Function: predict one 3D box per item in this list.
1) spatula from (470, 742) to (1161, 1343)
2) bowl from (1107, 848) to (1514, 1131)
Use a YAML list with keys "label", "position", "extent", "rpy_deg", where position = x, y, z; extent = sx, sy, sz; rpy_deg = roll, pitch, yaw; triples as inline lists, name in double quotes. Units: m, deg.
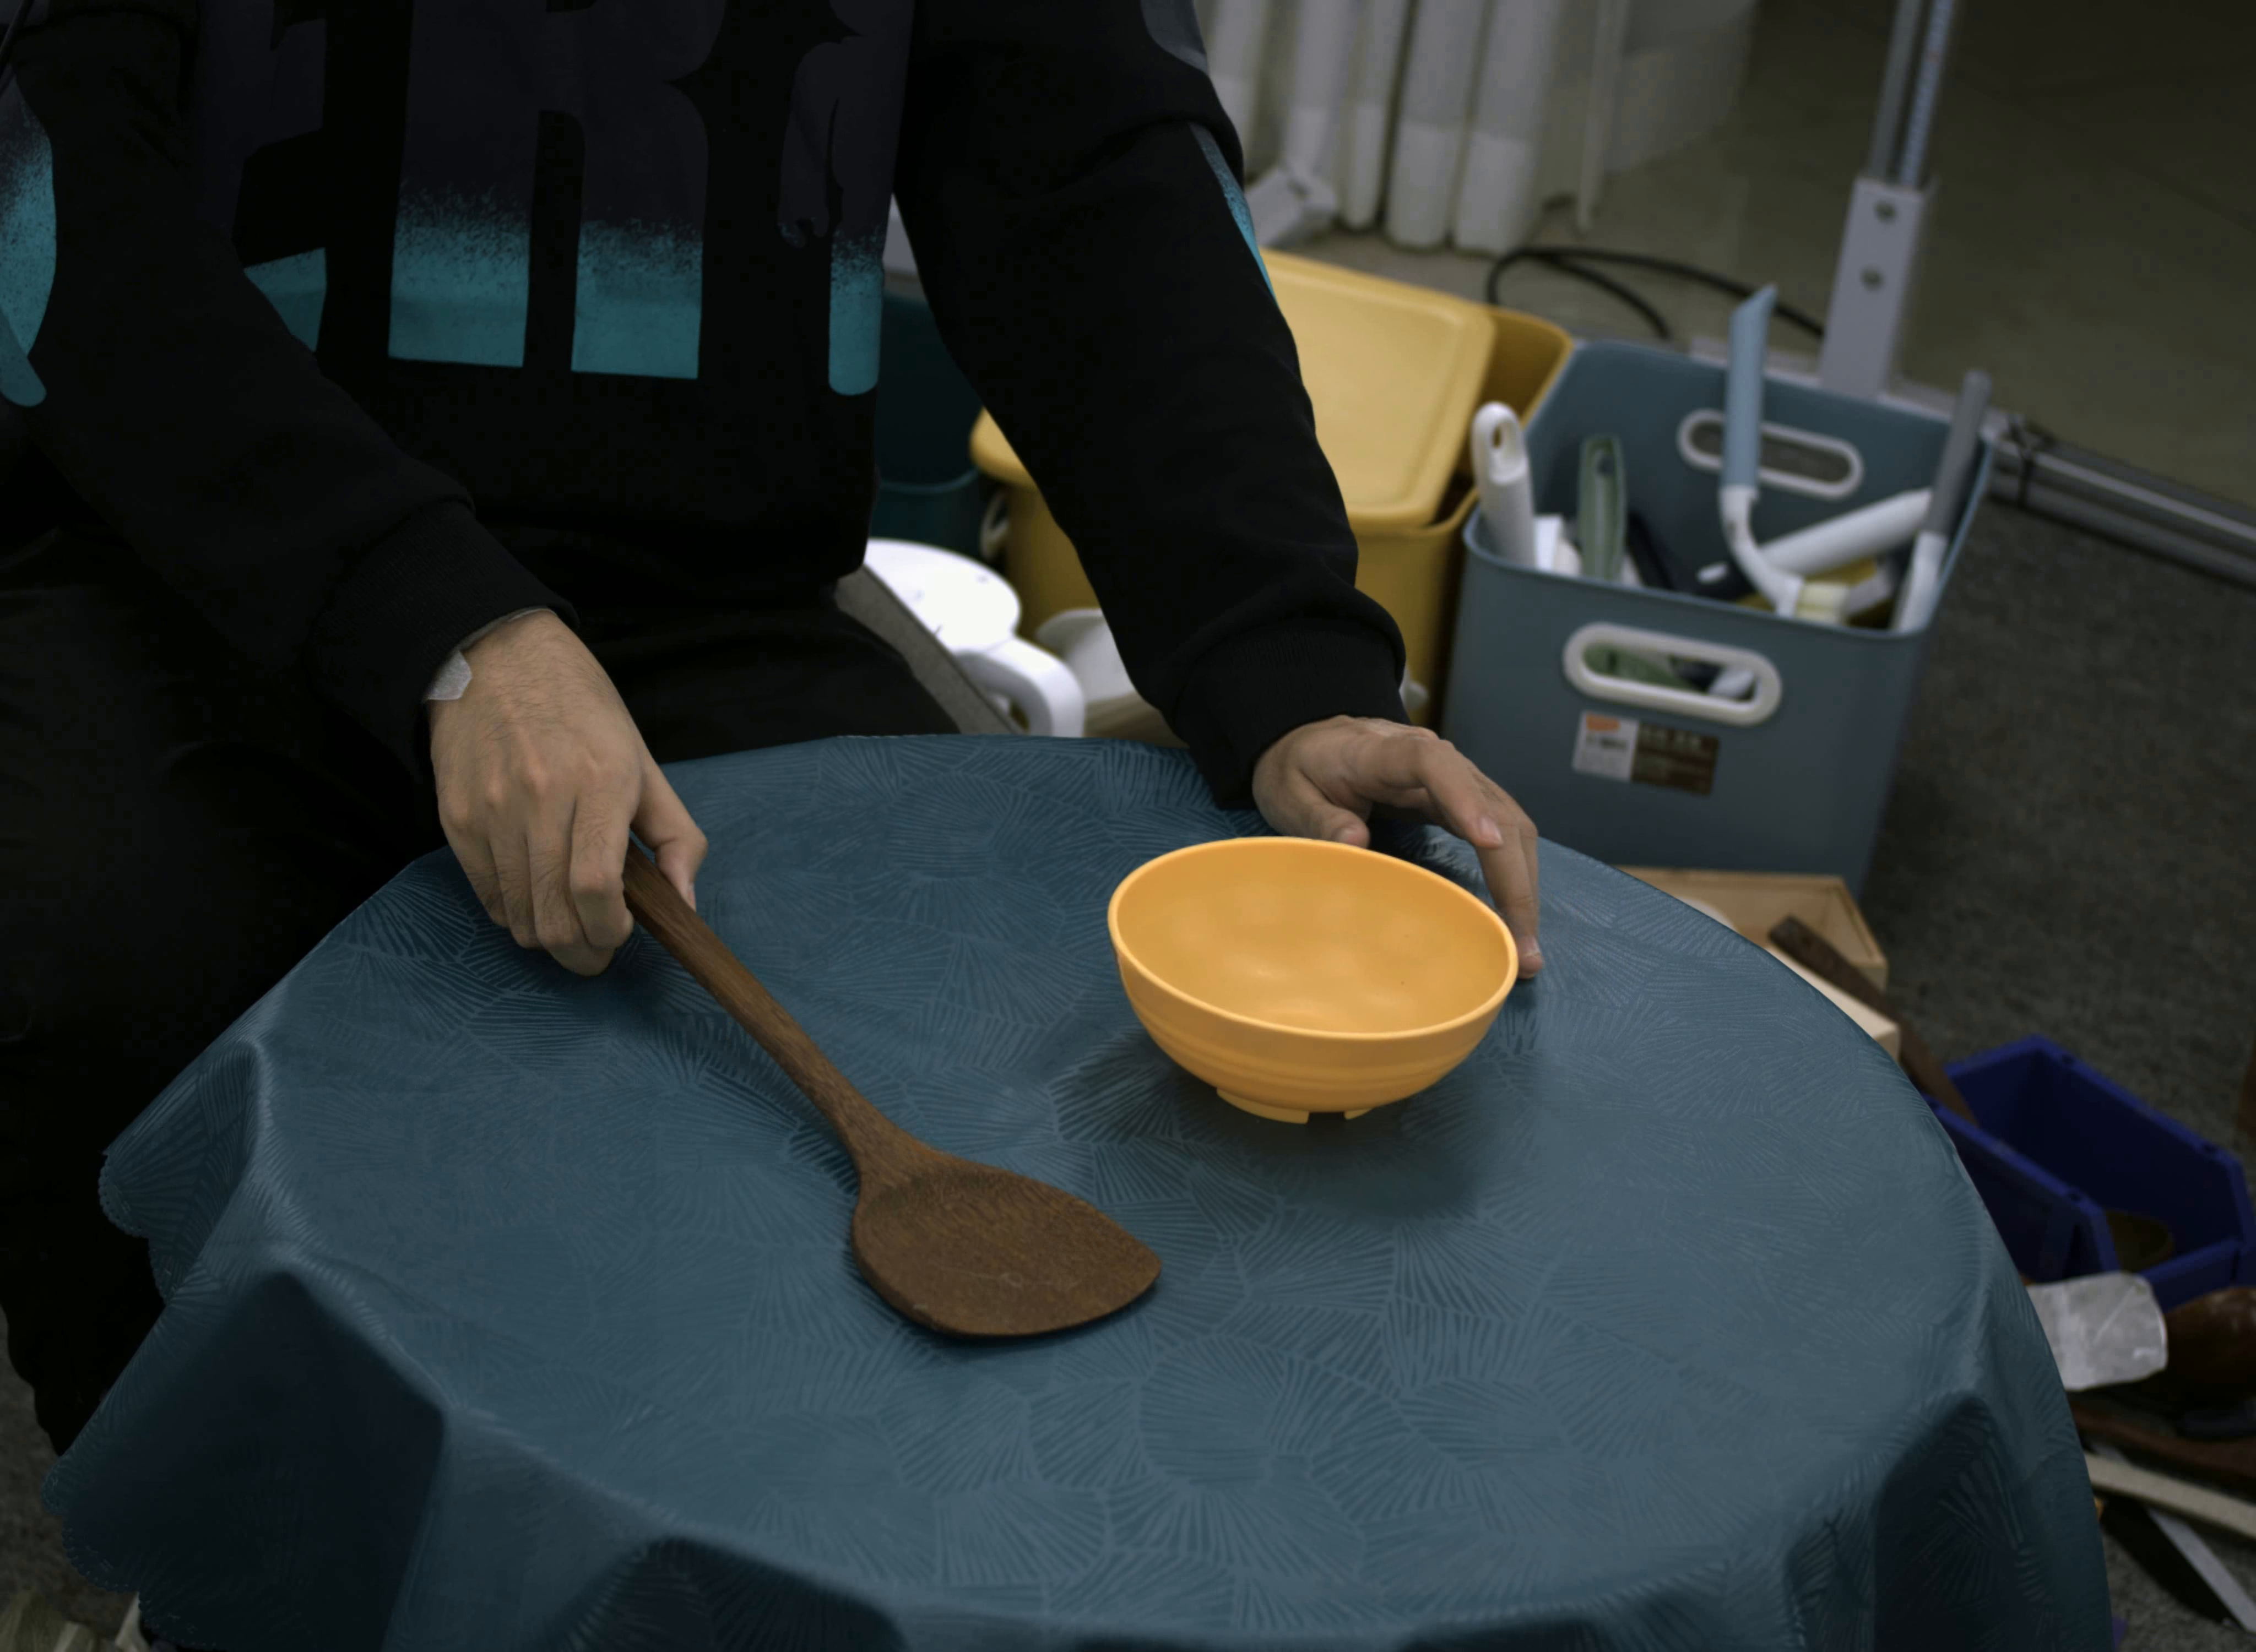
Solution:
- label: "spatula"
  position: [-0.128, 0.066, 1.842]
  extent: [0.095, 0.016, 0.389]
  rpy_deg: [-12, 38, -34]
- label: "bowl"
  position: [0.060, 0.066, 1.868]
  extent: [0.145, 0.060, 0.146]
  rpy_deg: [7, 24, -4]
